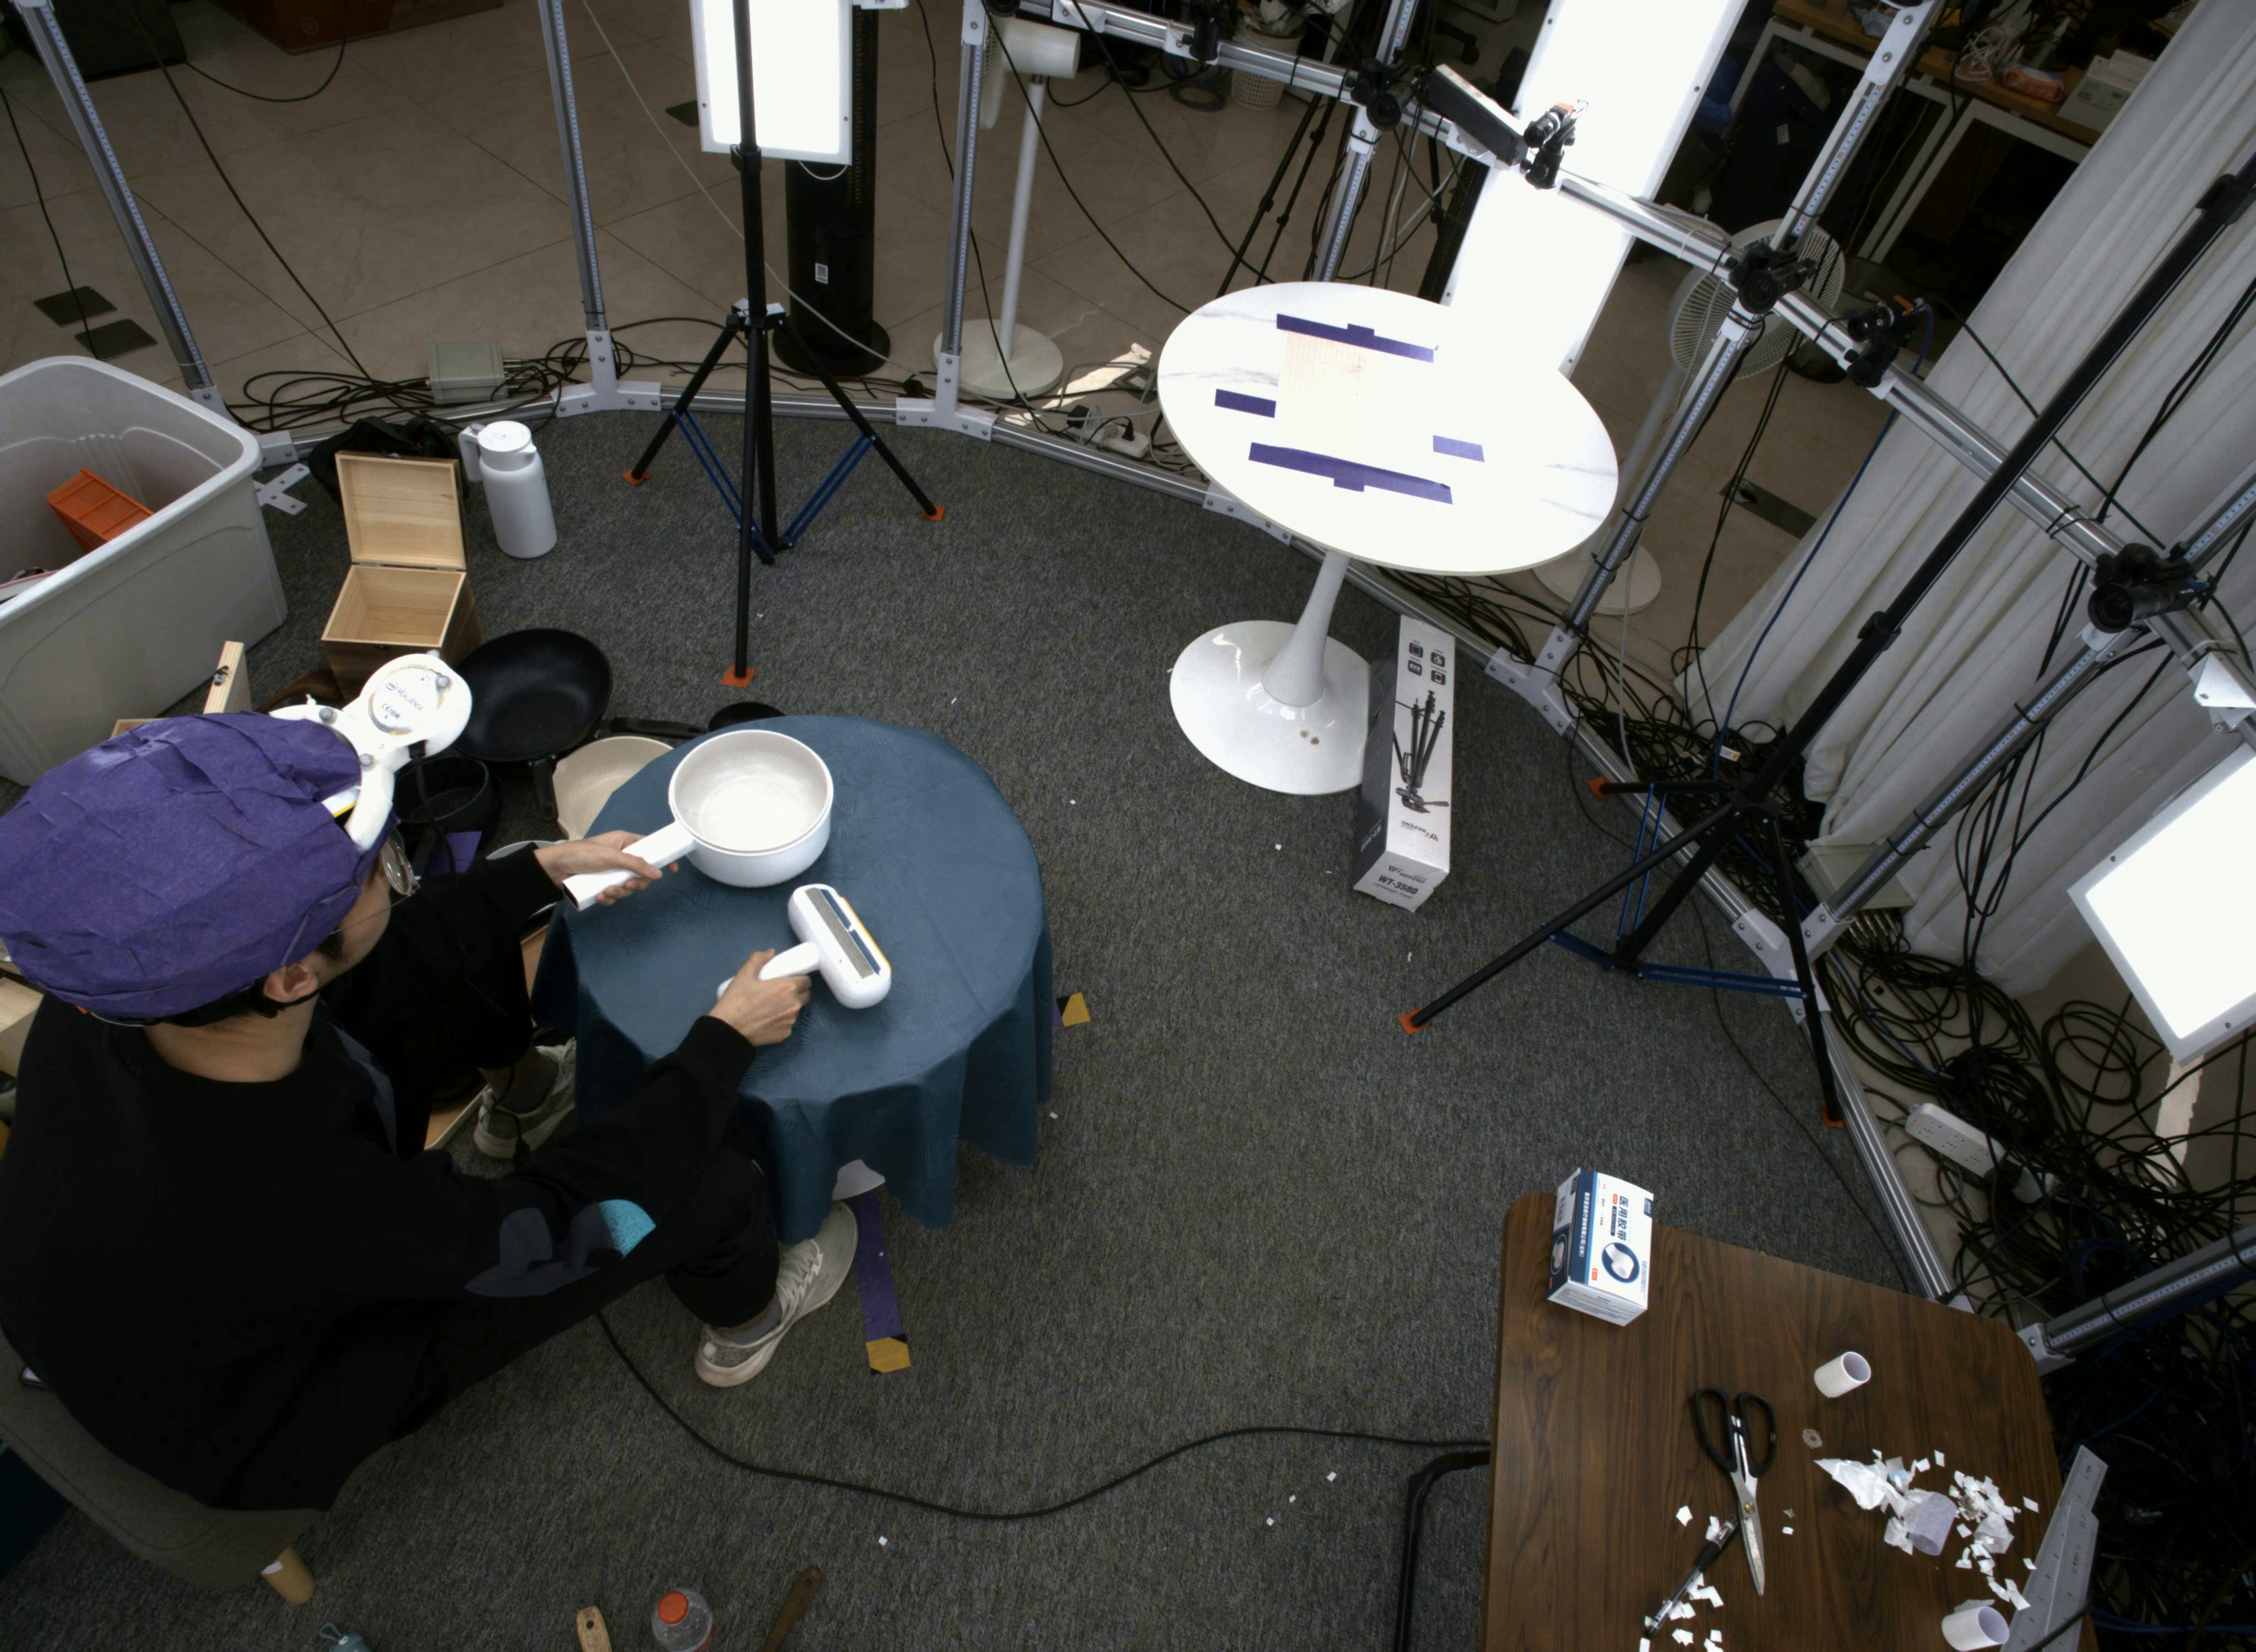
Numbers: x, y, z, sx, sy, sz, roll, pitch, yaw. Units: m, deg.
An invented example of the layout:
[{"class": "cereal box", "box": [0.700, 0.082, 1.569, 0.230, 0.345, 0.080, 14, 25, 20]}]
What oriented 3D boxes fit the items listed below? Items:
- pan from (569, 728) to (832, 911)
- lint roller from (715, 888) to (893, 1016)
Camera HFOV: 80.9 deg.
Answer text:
[{"class": "pan", "box": [-0.536, 0.018, 1.620, 0.356, 0.104, 0.197, -34, 68, -32]}, {"class": "lint roller", "box": [-0.402, 0.167, 1.561, 0.194, 0.076, 0.187, -15, 52, -30]}]
